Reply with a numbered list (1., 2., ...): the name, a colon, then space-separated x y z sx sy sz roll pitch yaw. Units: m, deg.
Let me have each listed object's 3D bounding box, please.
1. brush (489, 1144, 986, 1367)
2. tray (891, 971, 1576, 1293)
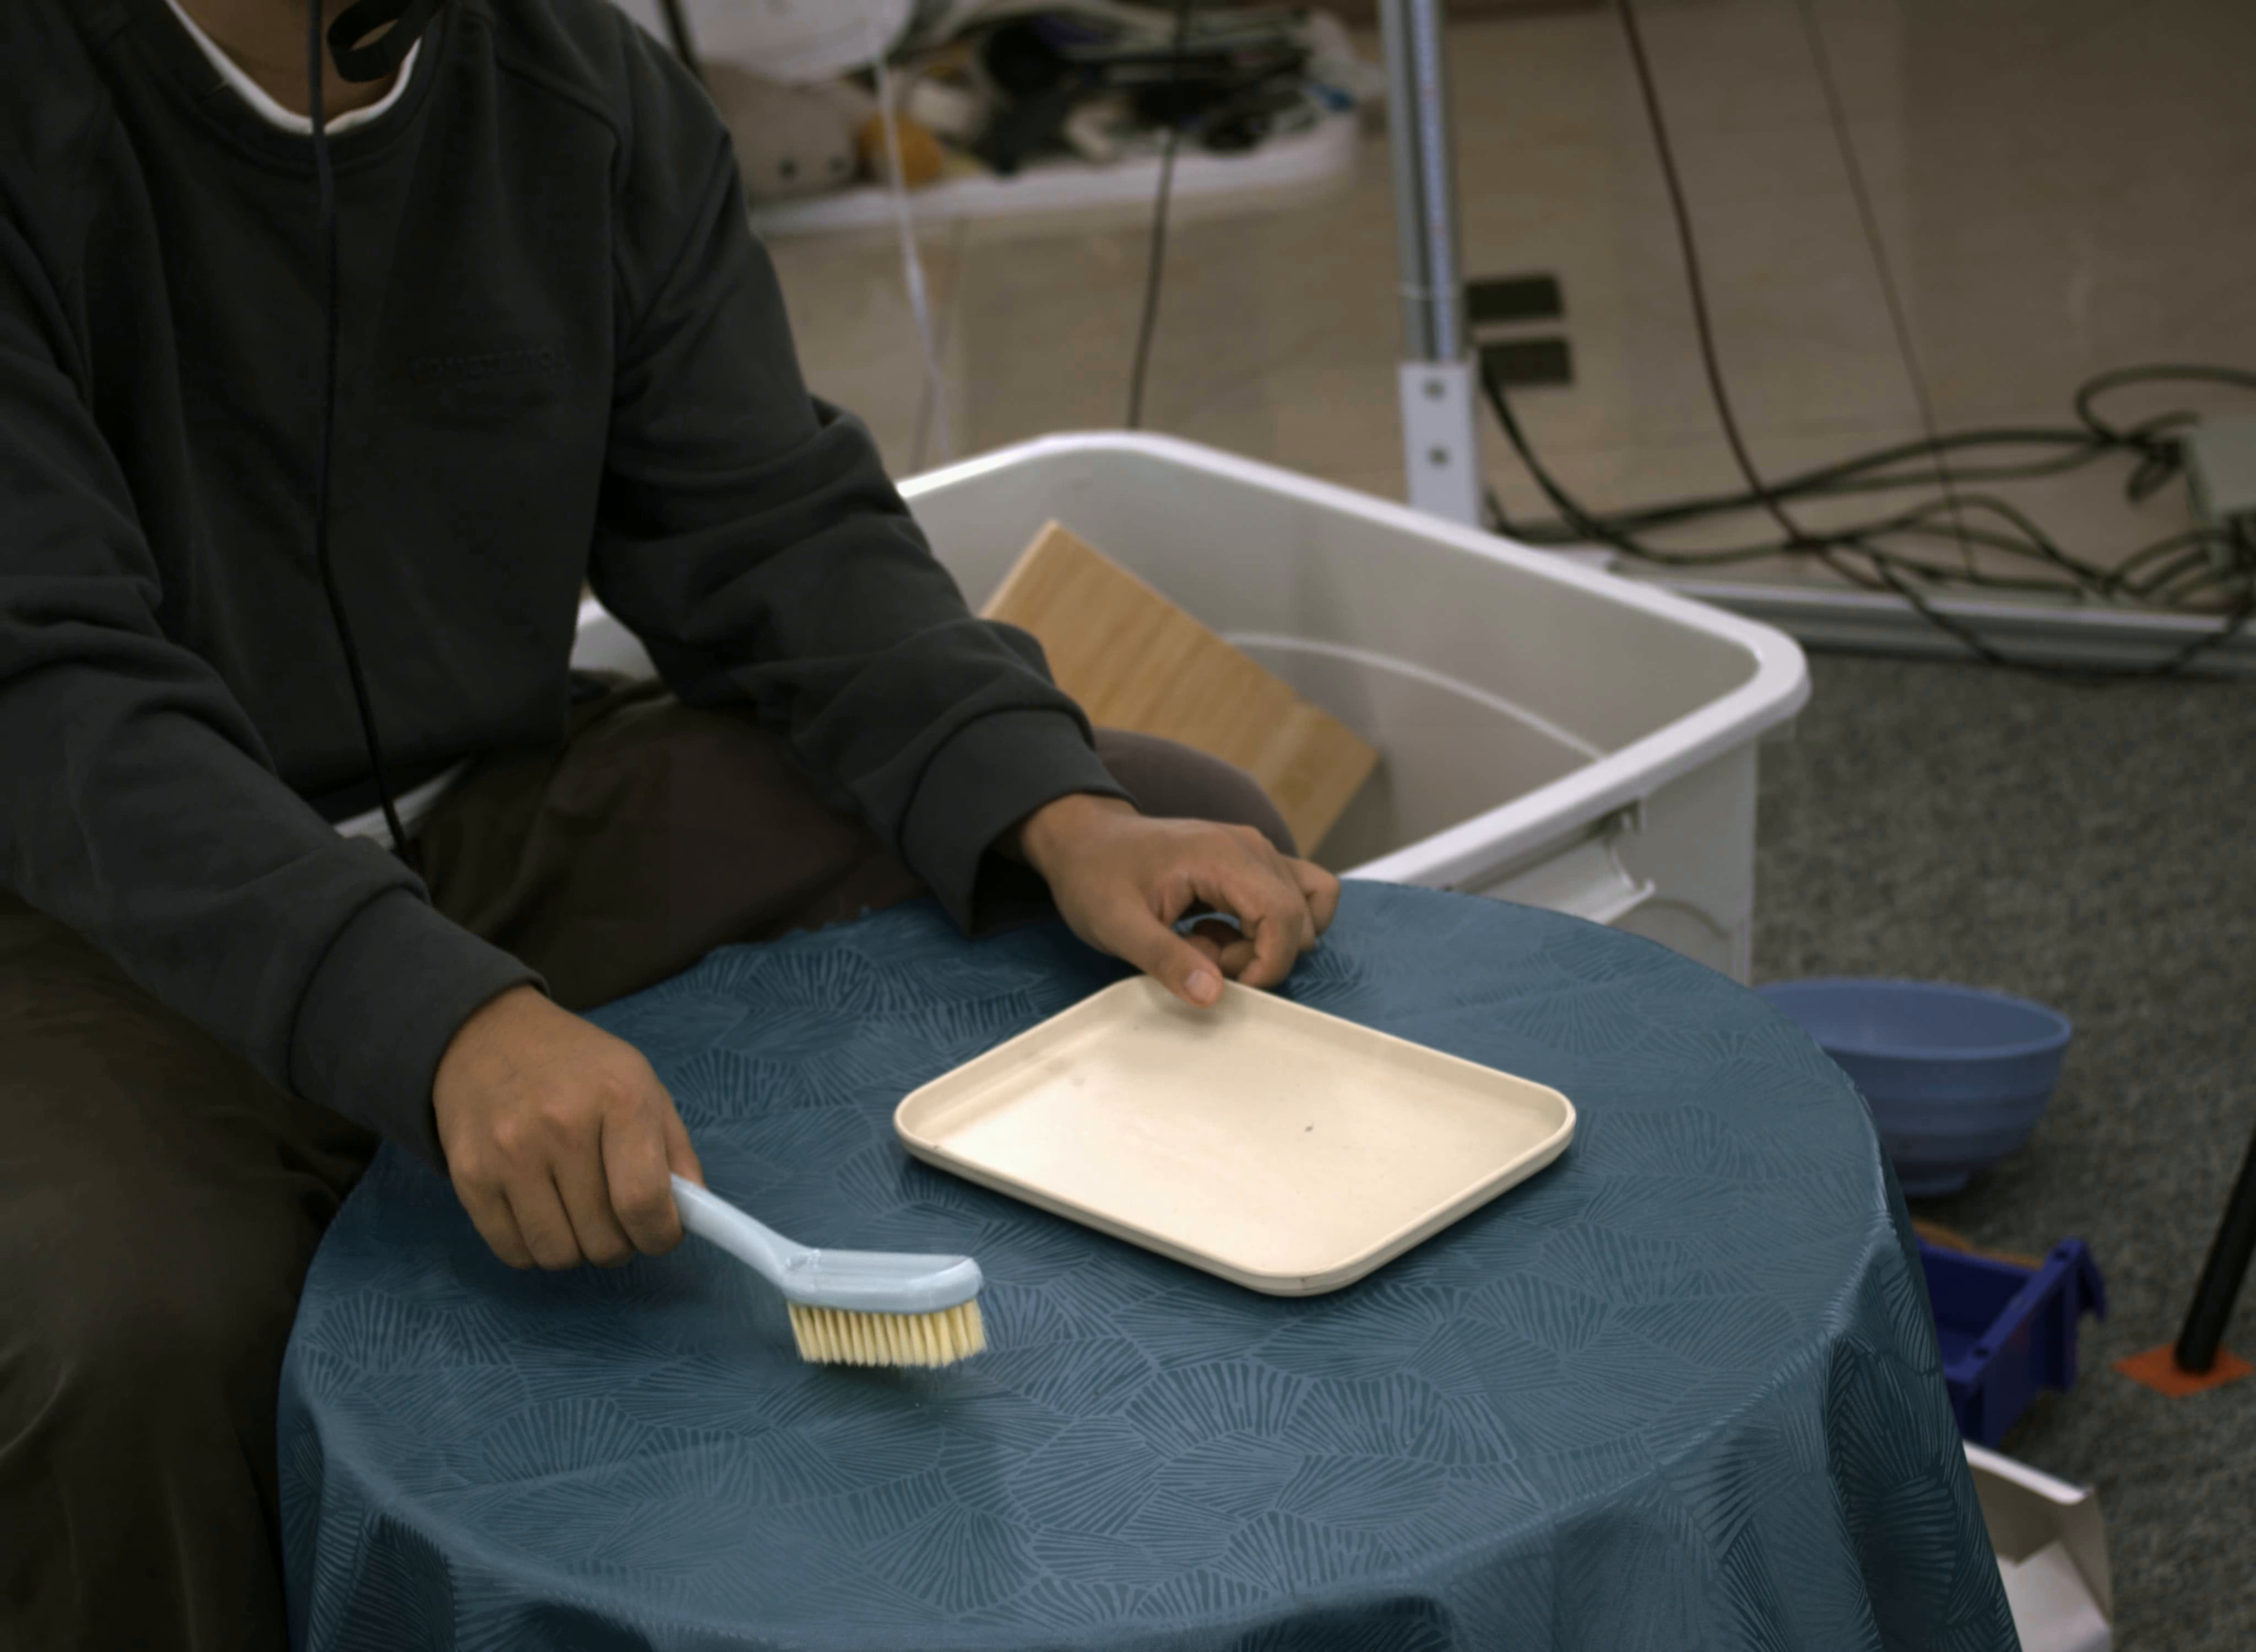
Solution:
1. brush: -0.146 0.158 2.075 0.227 0.050 0.037 14 25 34
2. tray: 0.039 0.116 2.166 0.238 0.018 0.170 18 33 42
